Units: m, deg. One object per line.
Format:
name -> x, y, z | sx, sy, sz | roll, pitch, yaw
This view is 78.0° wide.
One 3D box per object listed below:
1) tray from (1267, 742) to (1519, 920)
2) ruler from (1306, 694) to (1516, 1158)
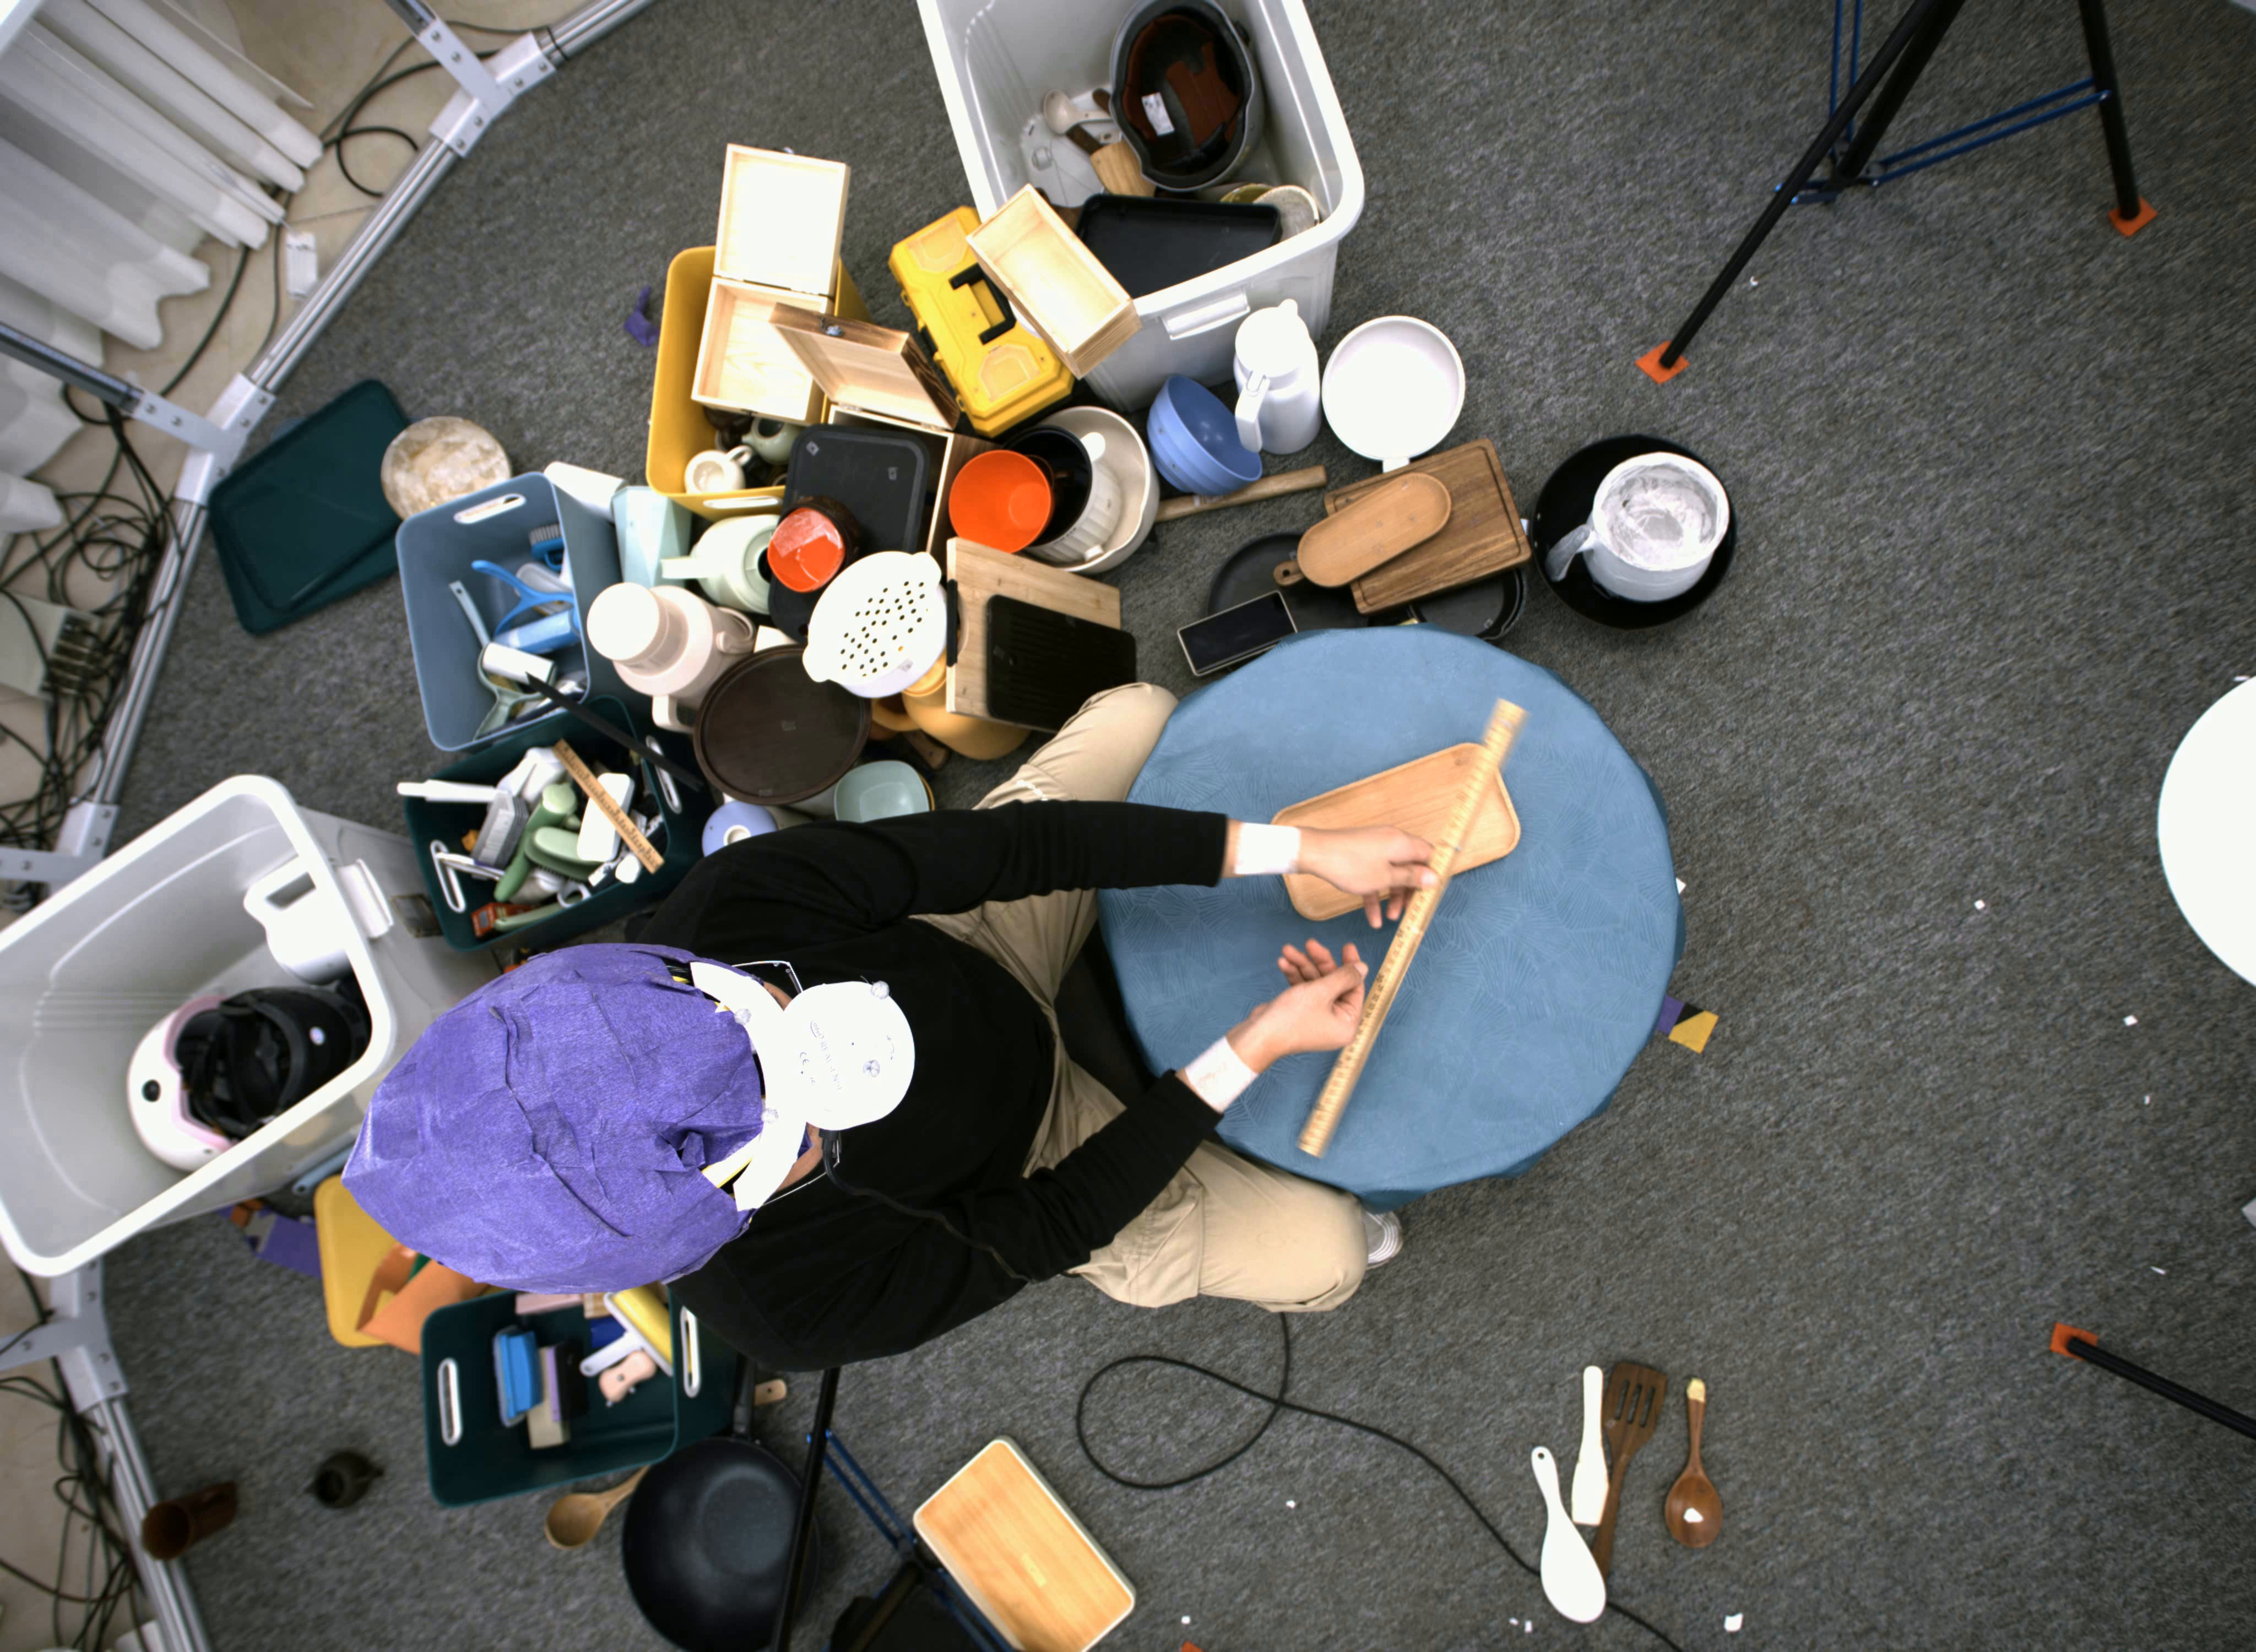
tray -> 0.278, 0.005, 1.455 | 0.252, 0.023, 0.129 | -19, 81, 10
ruler -> 0.277, 0.105, 1.373 | 0.027, 0.006, 0.506 | 25, 105, 21
